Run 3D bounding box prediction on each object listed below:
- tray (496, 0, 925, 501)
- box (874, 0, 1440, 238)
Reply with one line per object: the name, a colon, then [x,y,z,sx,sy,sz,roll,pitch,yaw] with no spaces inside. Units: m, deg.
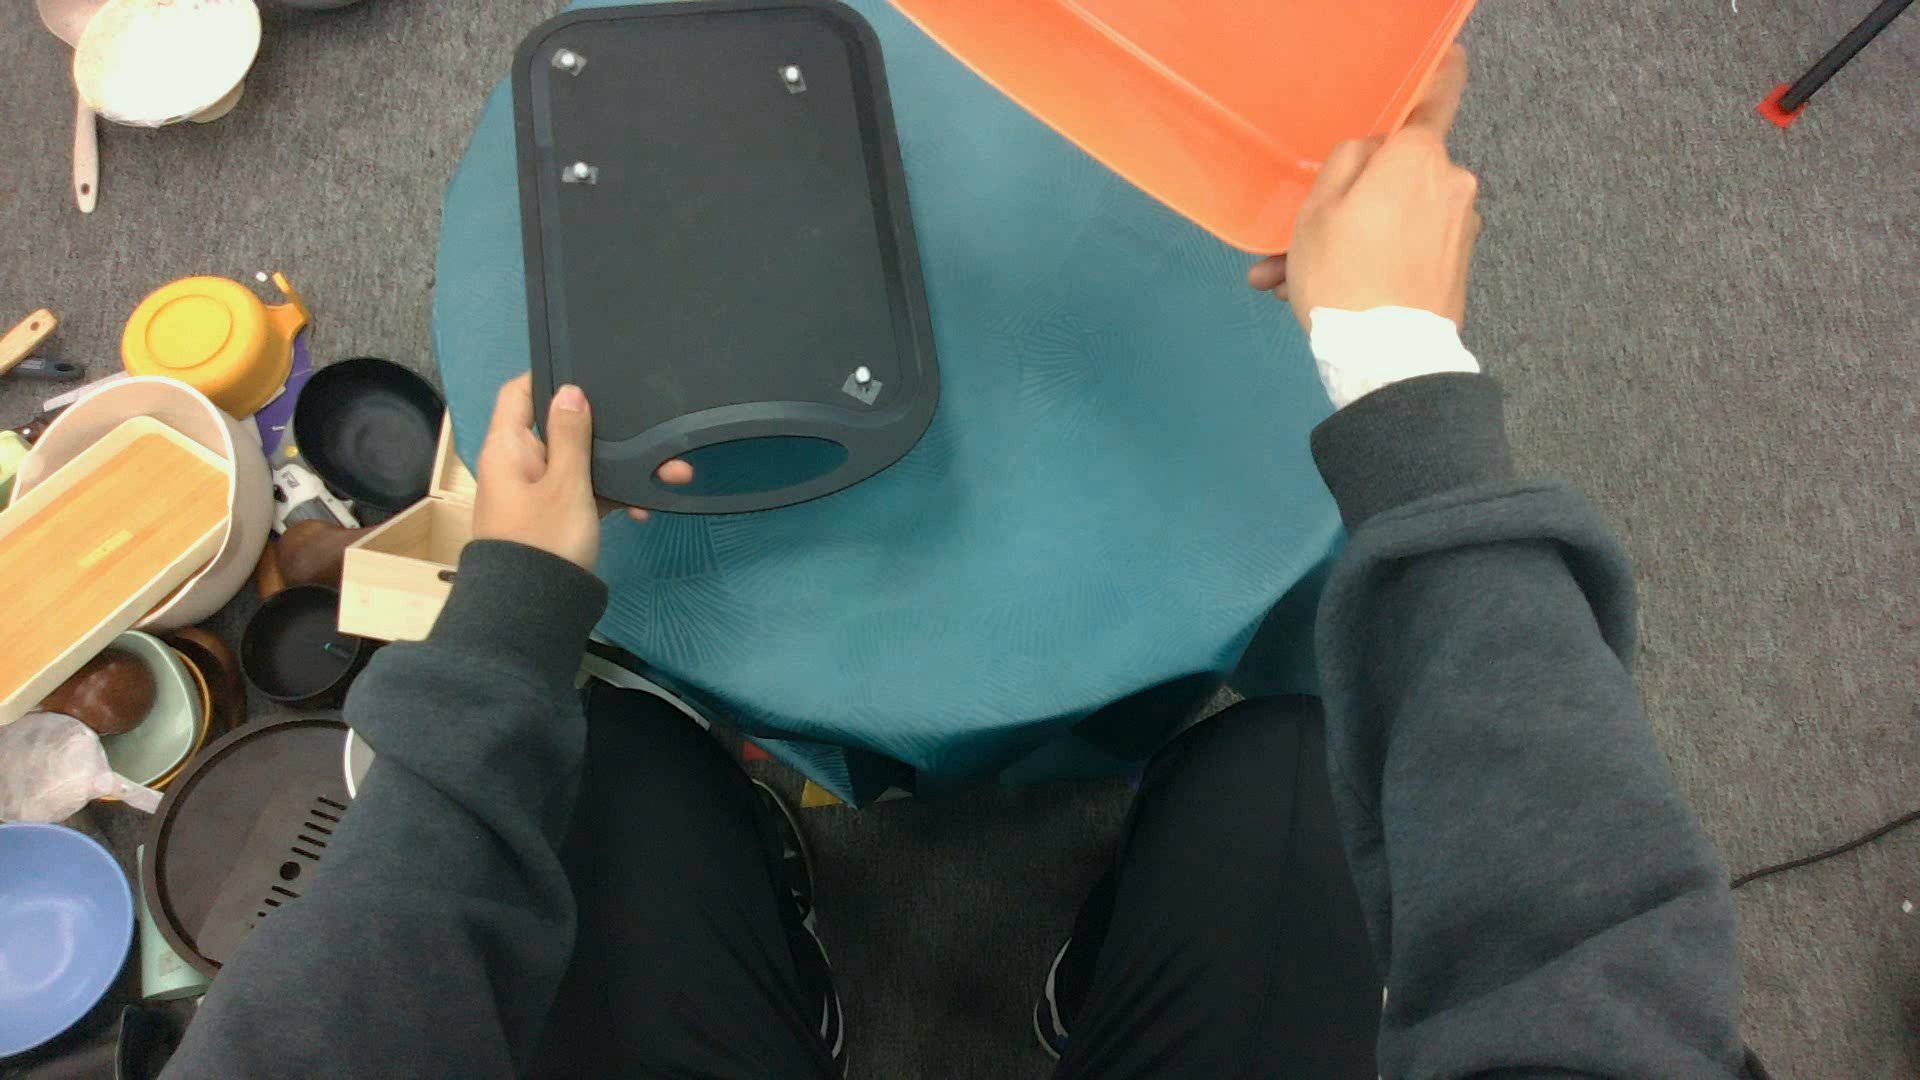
tray: [-0.138,-0.173,0.747,0.211,0.010,0.326,-8,70,-8]
box: [0.093,-0.287,0.627,0.273,0.198,0.103,38,43,11]
